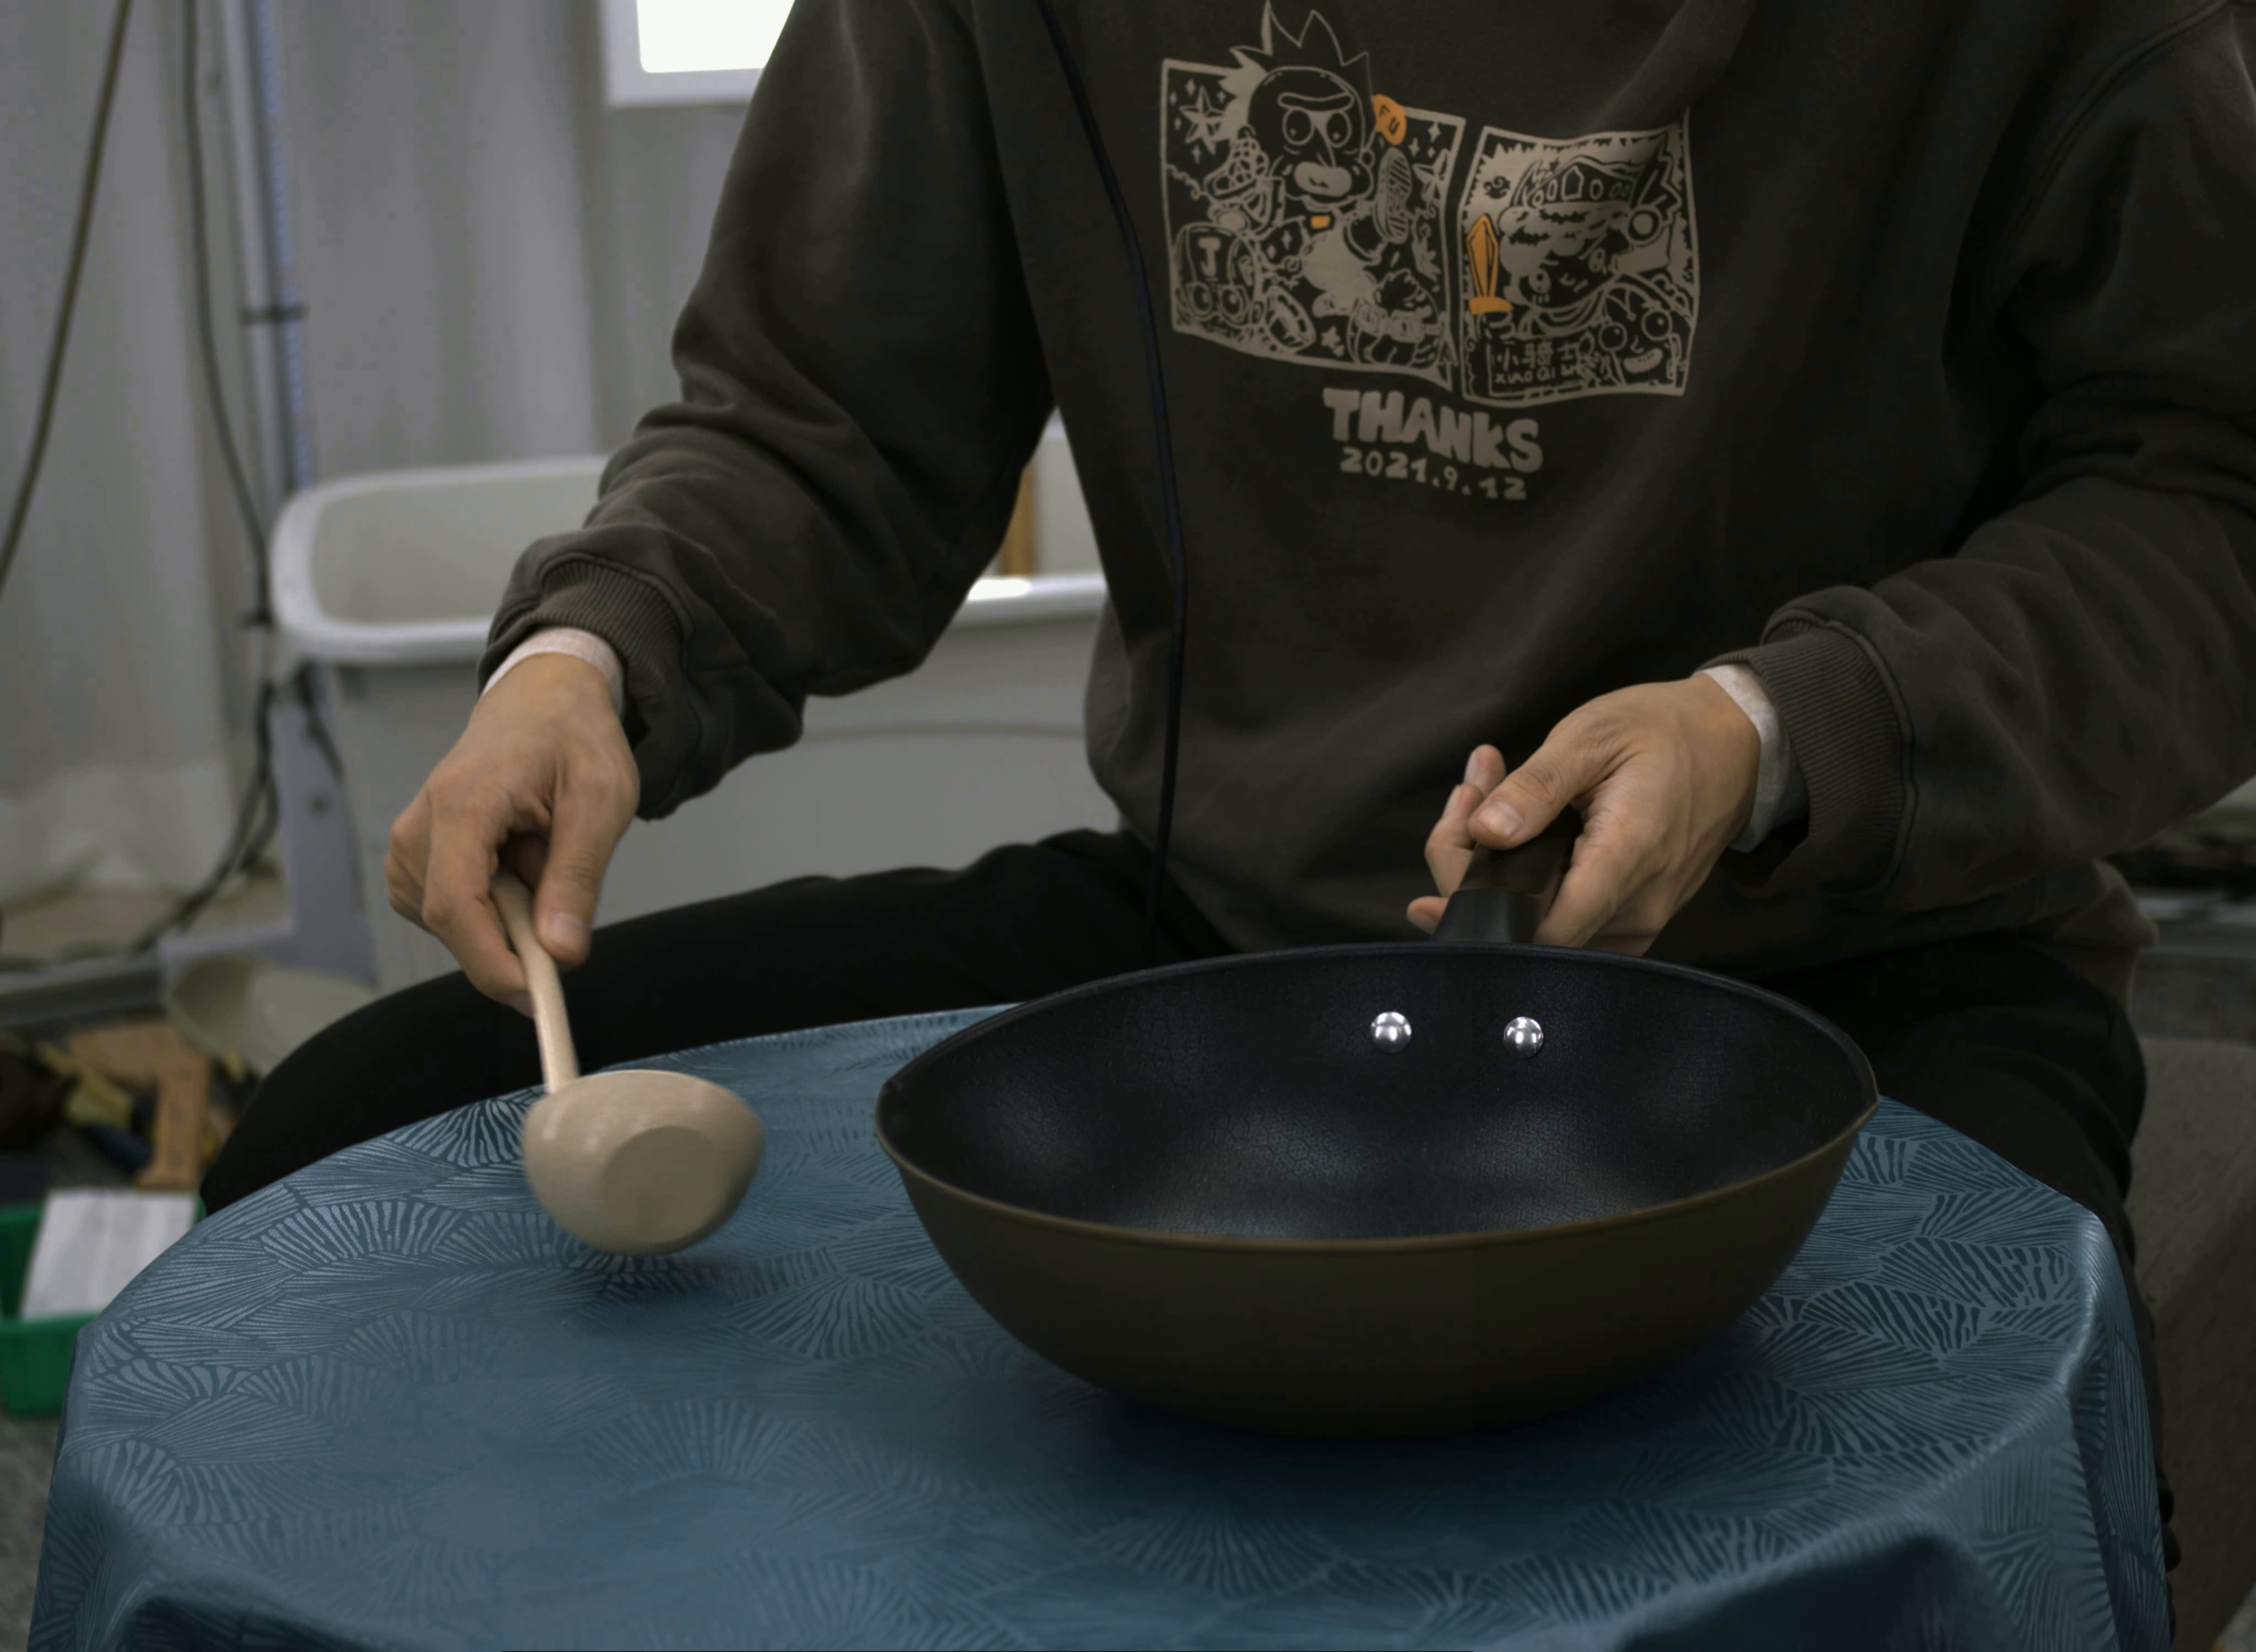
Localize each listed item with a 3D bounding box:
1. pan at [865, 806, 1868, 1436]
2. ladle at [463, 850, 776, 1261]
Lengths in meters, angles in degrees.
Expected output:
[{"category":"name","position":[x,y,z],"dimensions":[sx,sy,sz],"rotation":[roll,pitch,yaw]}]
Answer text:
[{"category":"pan","position":[0.090,0.087,1.649],"dimensions":[0.288,0.086,0.465],"rotation":[1,15,14]},{"category":"ladle","position":[-0.169,0.047,1.739],"dimensions":[0.071,0.072,0.258],"rotation":[19,23,-27]}]
